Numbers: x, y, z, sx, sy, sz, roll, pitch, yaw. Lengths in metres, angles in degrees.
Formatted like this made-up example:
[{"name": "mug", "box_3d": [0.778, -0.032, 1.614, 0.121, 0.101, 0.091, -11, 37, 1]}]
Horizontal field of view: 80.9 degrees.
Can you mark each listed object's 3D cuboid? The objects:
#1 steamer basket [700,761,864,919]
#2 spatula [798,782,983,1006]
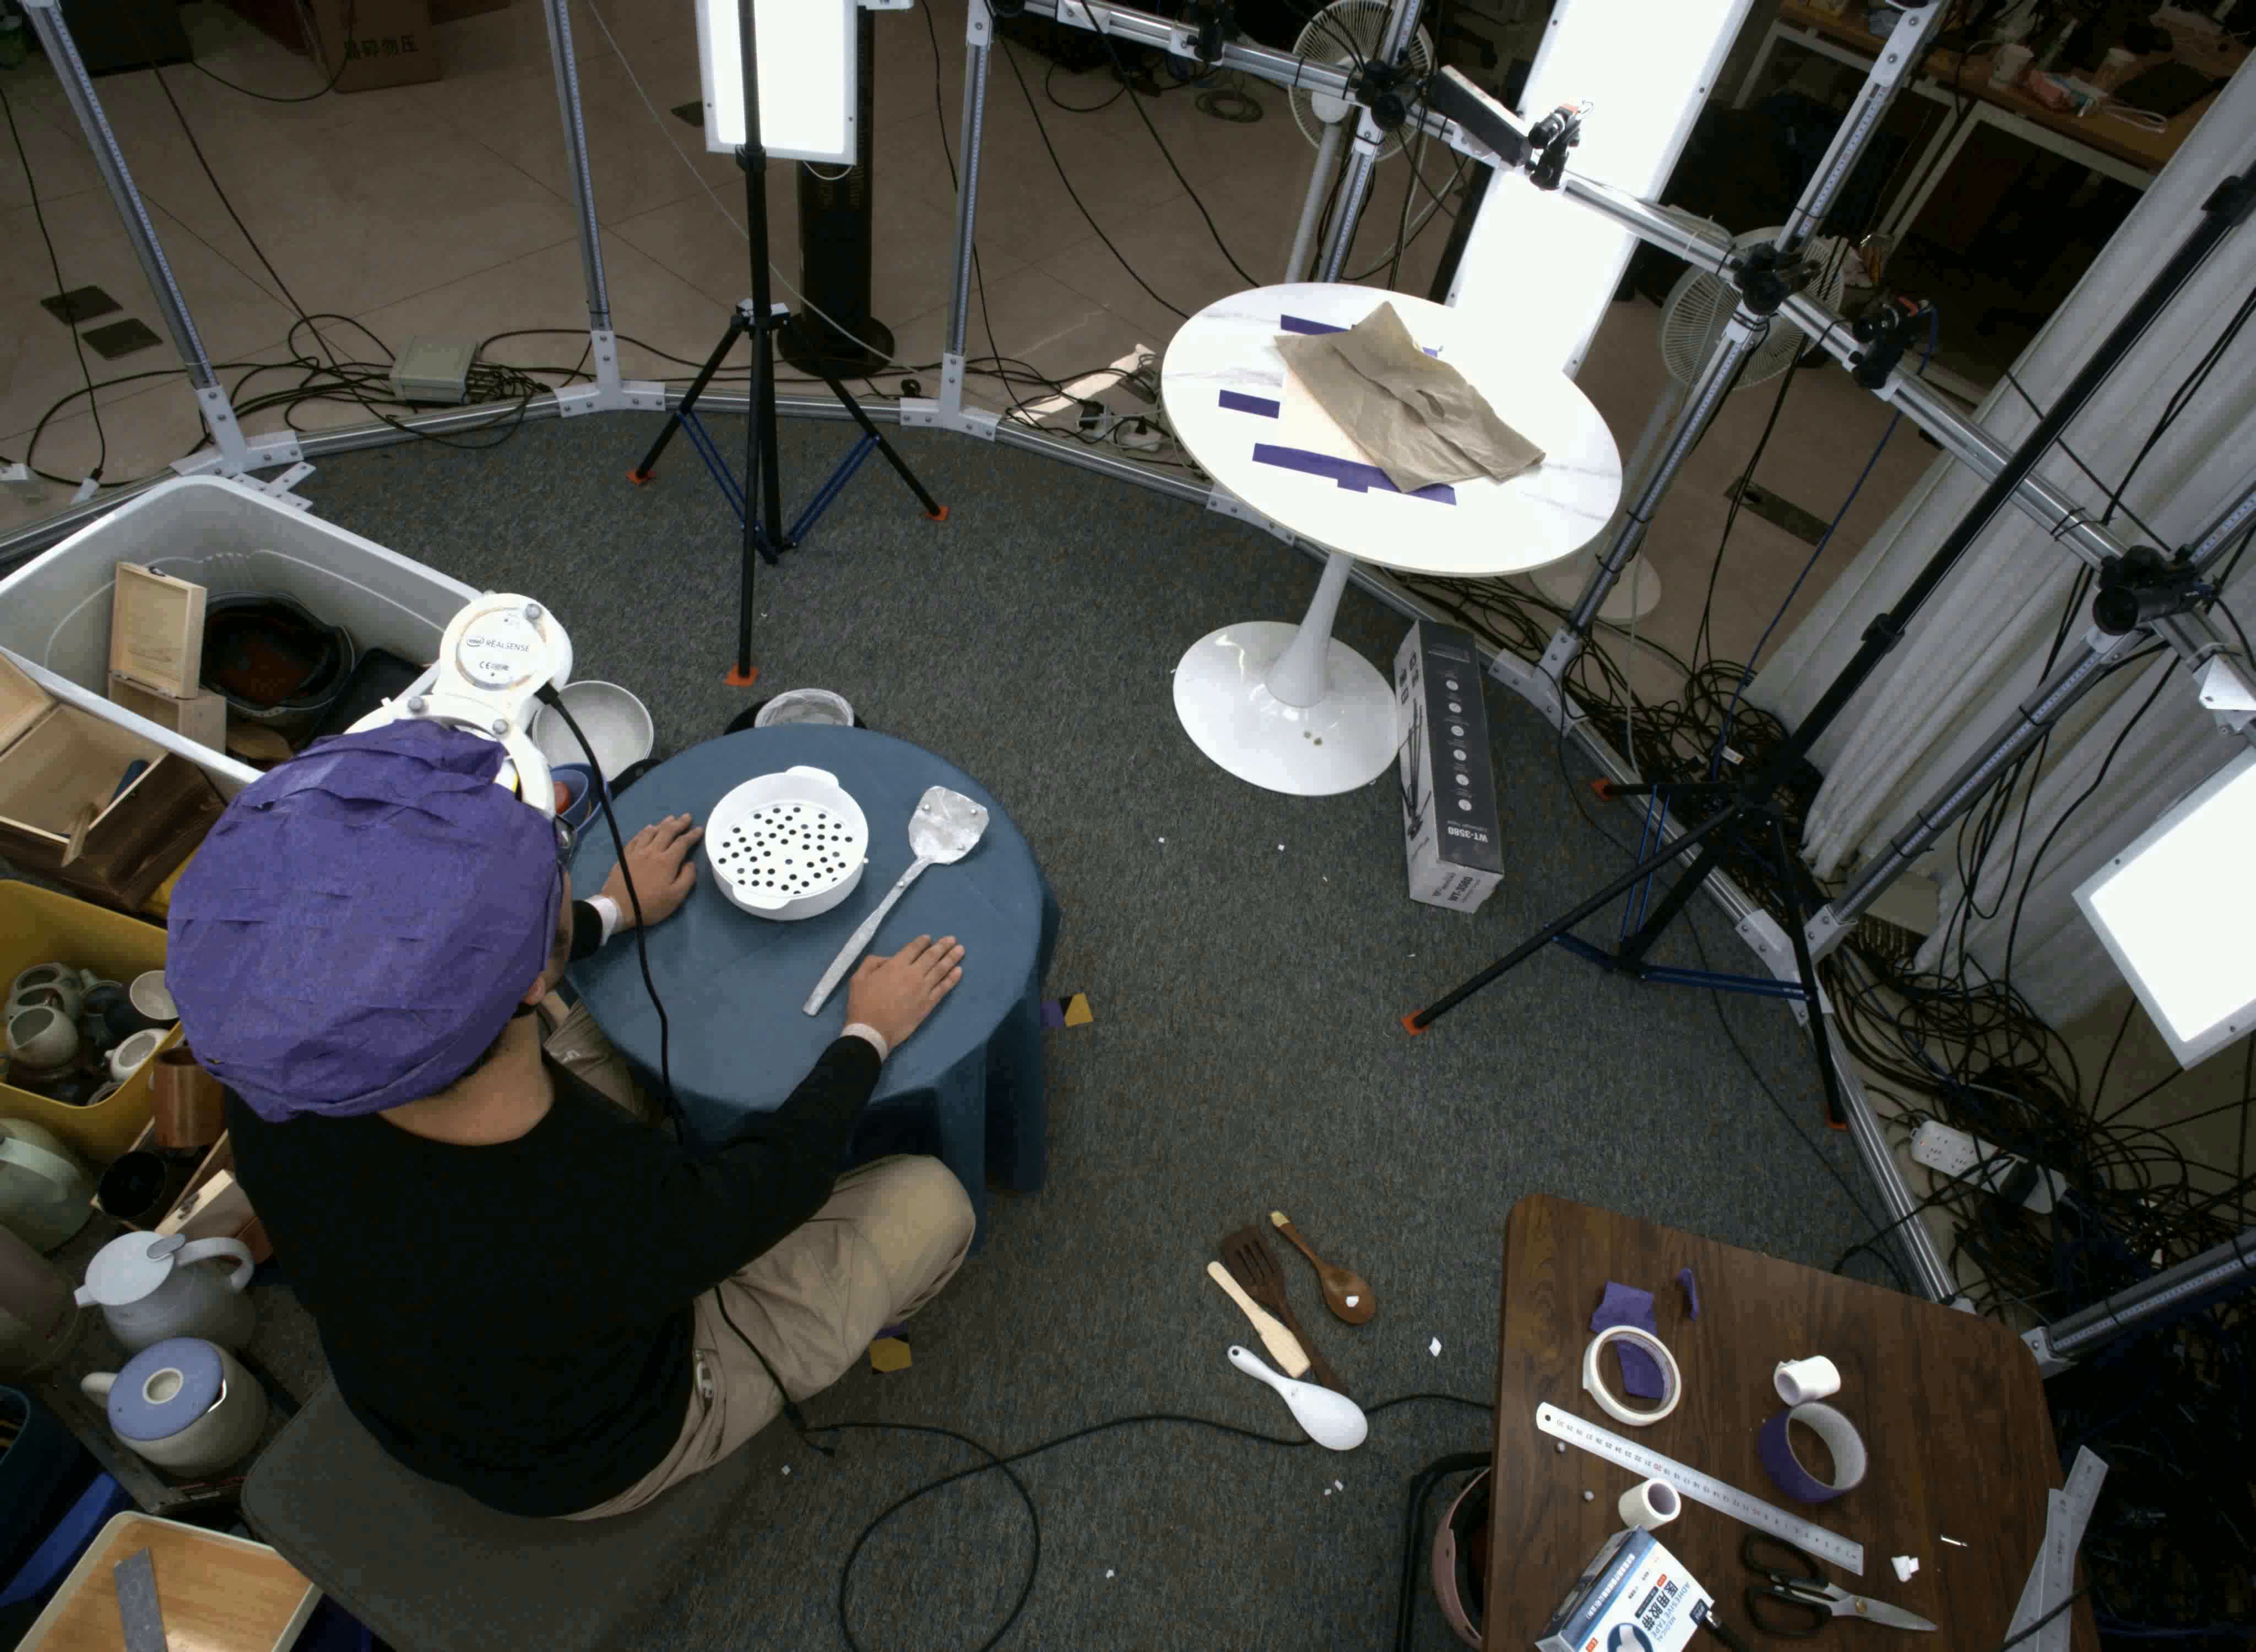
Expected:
[{"name": "steamer basket", "box_3d": [-0.439, 0.022, 1.653, 0.200, 0.070, 0.227, 14, 52, -2]}, {"name": "spatula", "box_3d": [-0.309, 0.086, 1.660, 0.097, 0.045, 0.363, 28, 52, 5]}]
